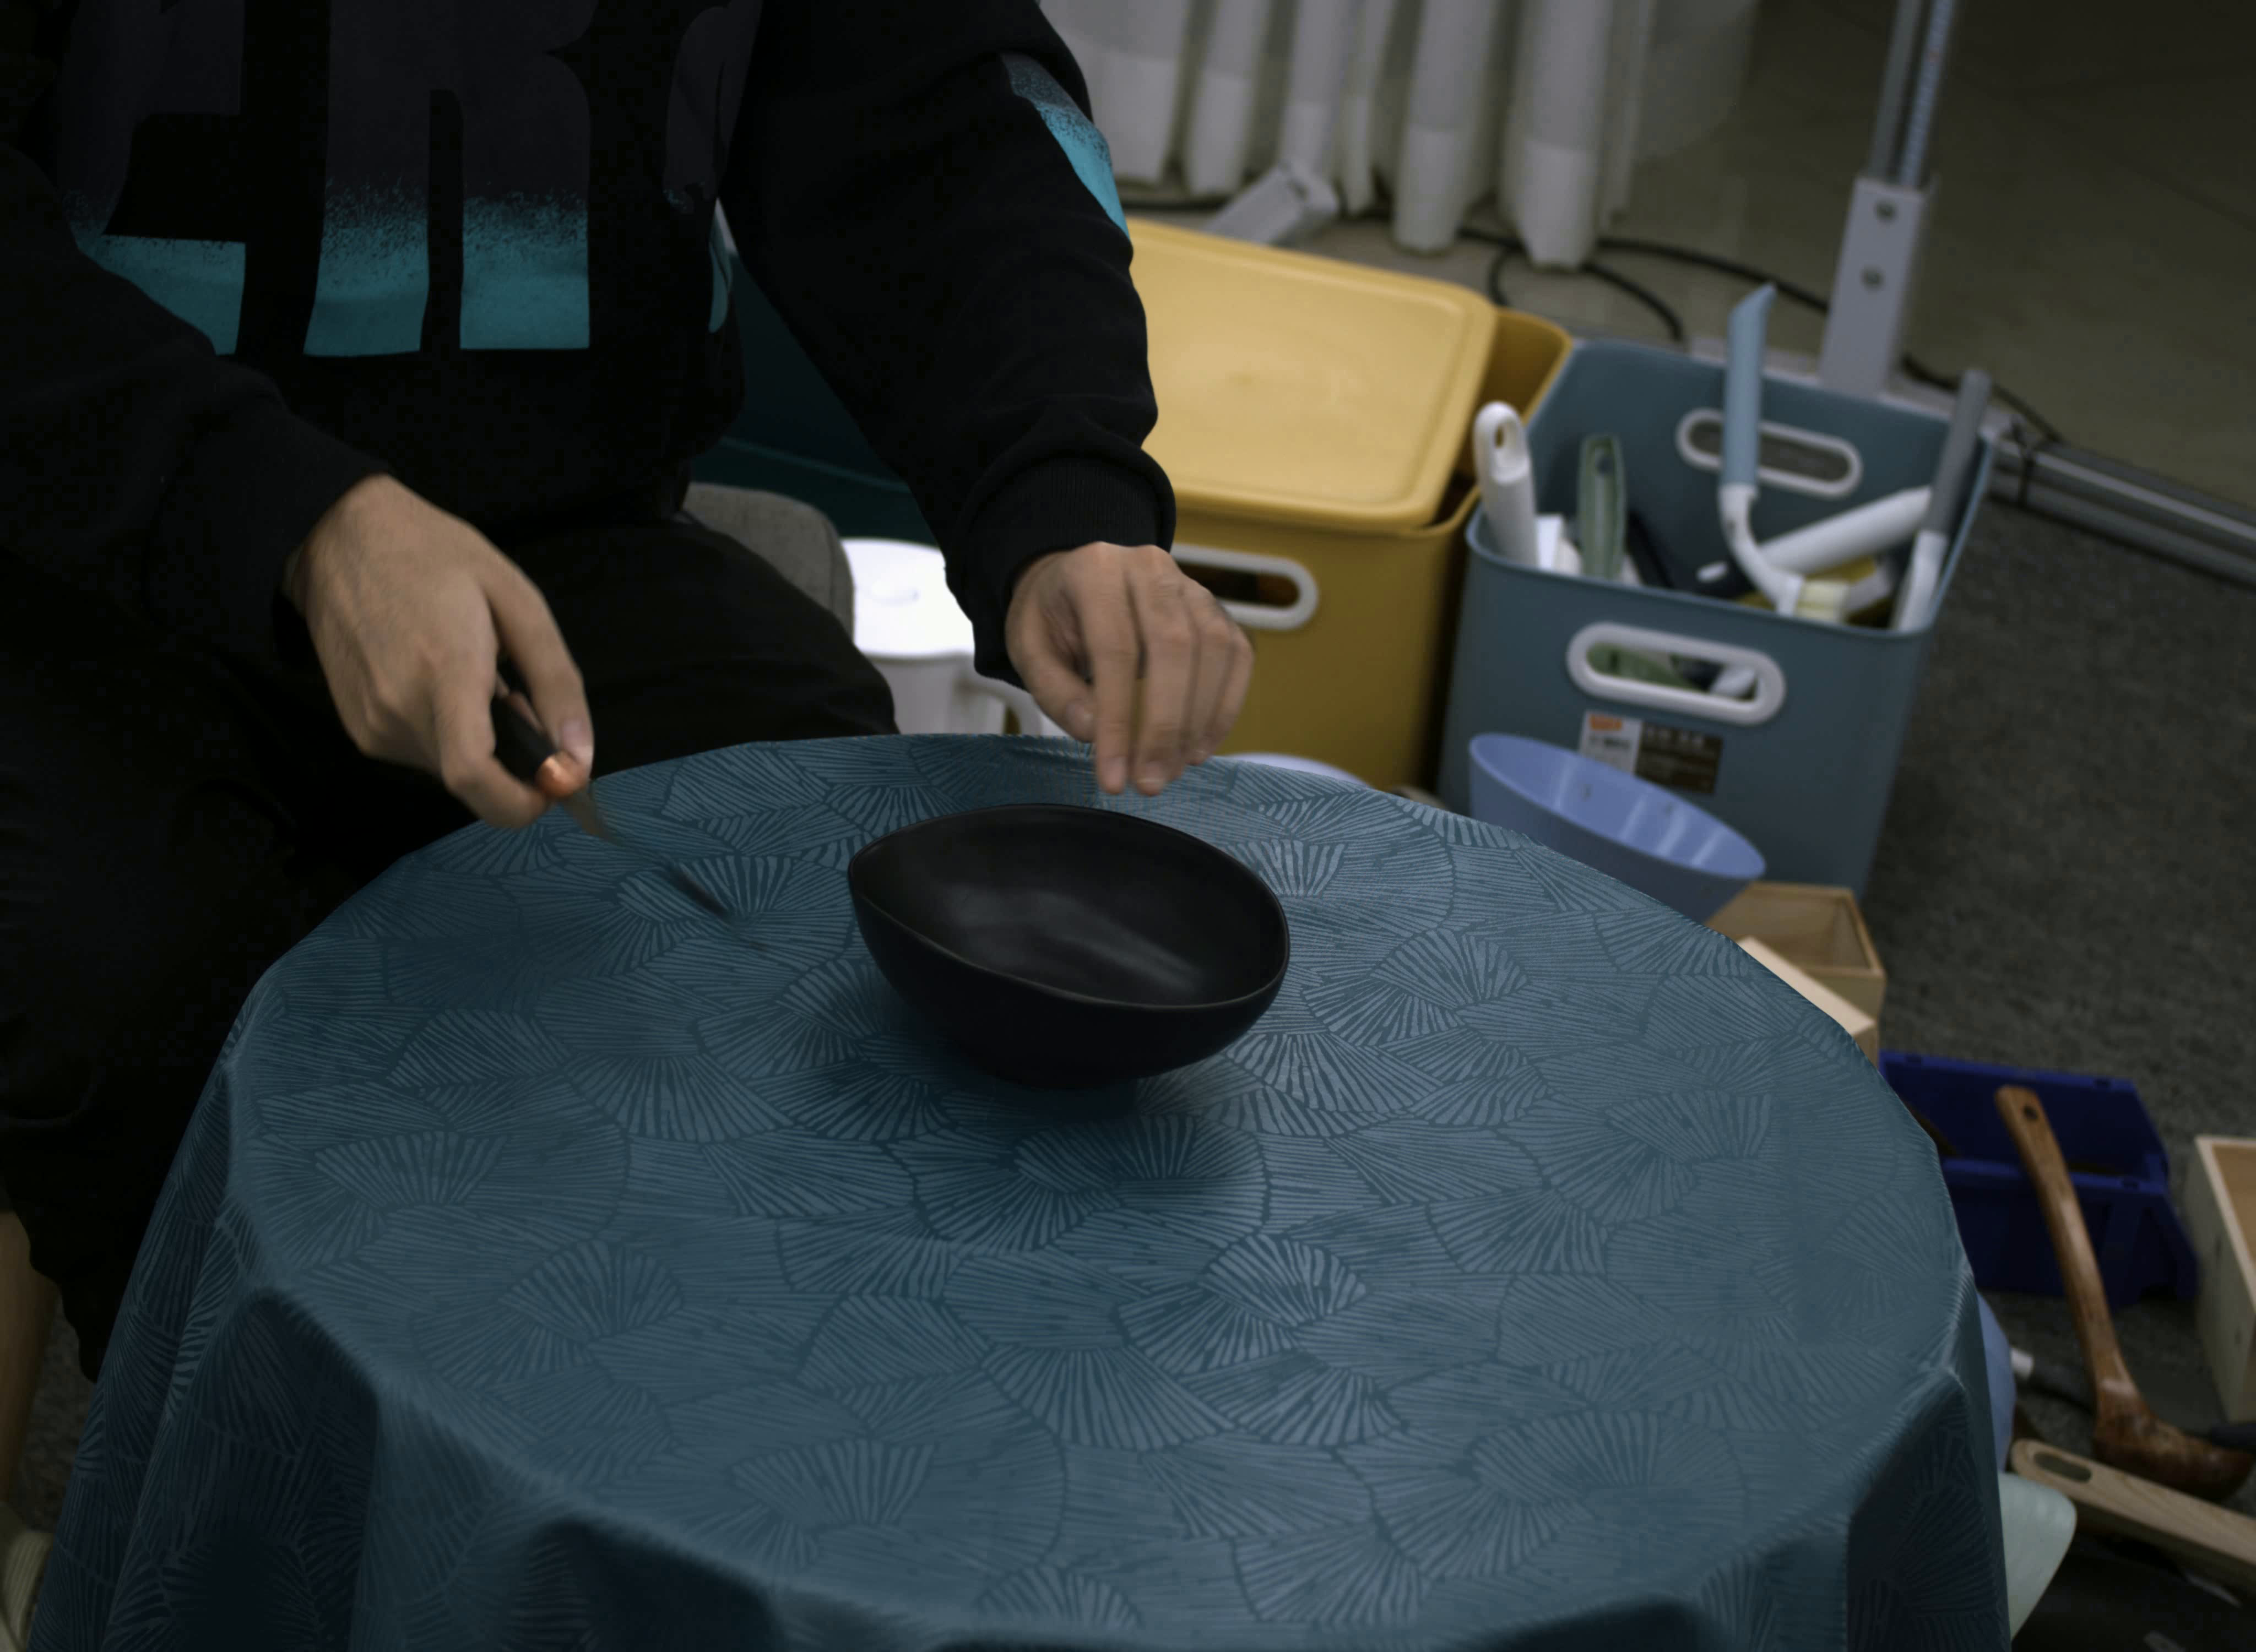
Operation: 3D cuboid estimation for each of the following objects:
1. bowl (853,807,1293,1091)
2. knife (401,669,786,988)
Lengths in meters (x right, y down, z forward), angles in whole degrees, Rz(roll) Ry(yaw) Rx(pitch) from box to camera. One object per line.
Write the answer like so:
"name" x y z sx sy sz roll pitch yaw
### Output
"bowl" -0.023 0.050 1.870 0.171 0.066 0.137 22 30 32
"knife" -0.184 -0.001 1.813 0.017 0.026 0.227 -45 47 -10
